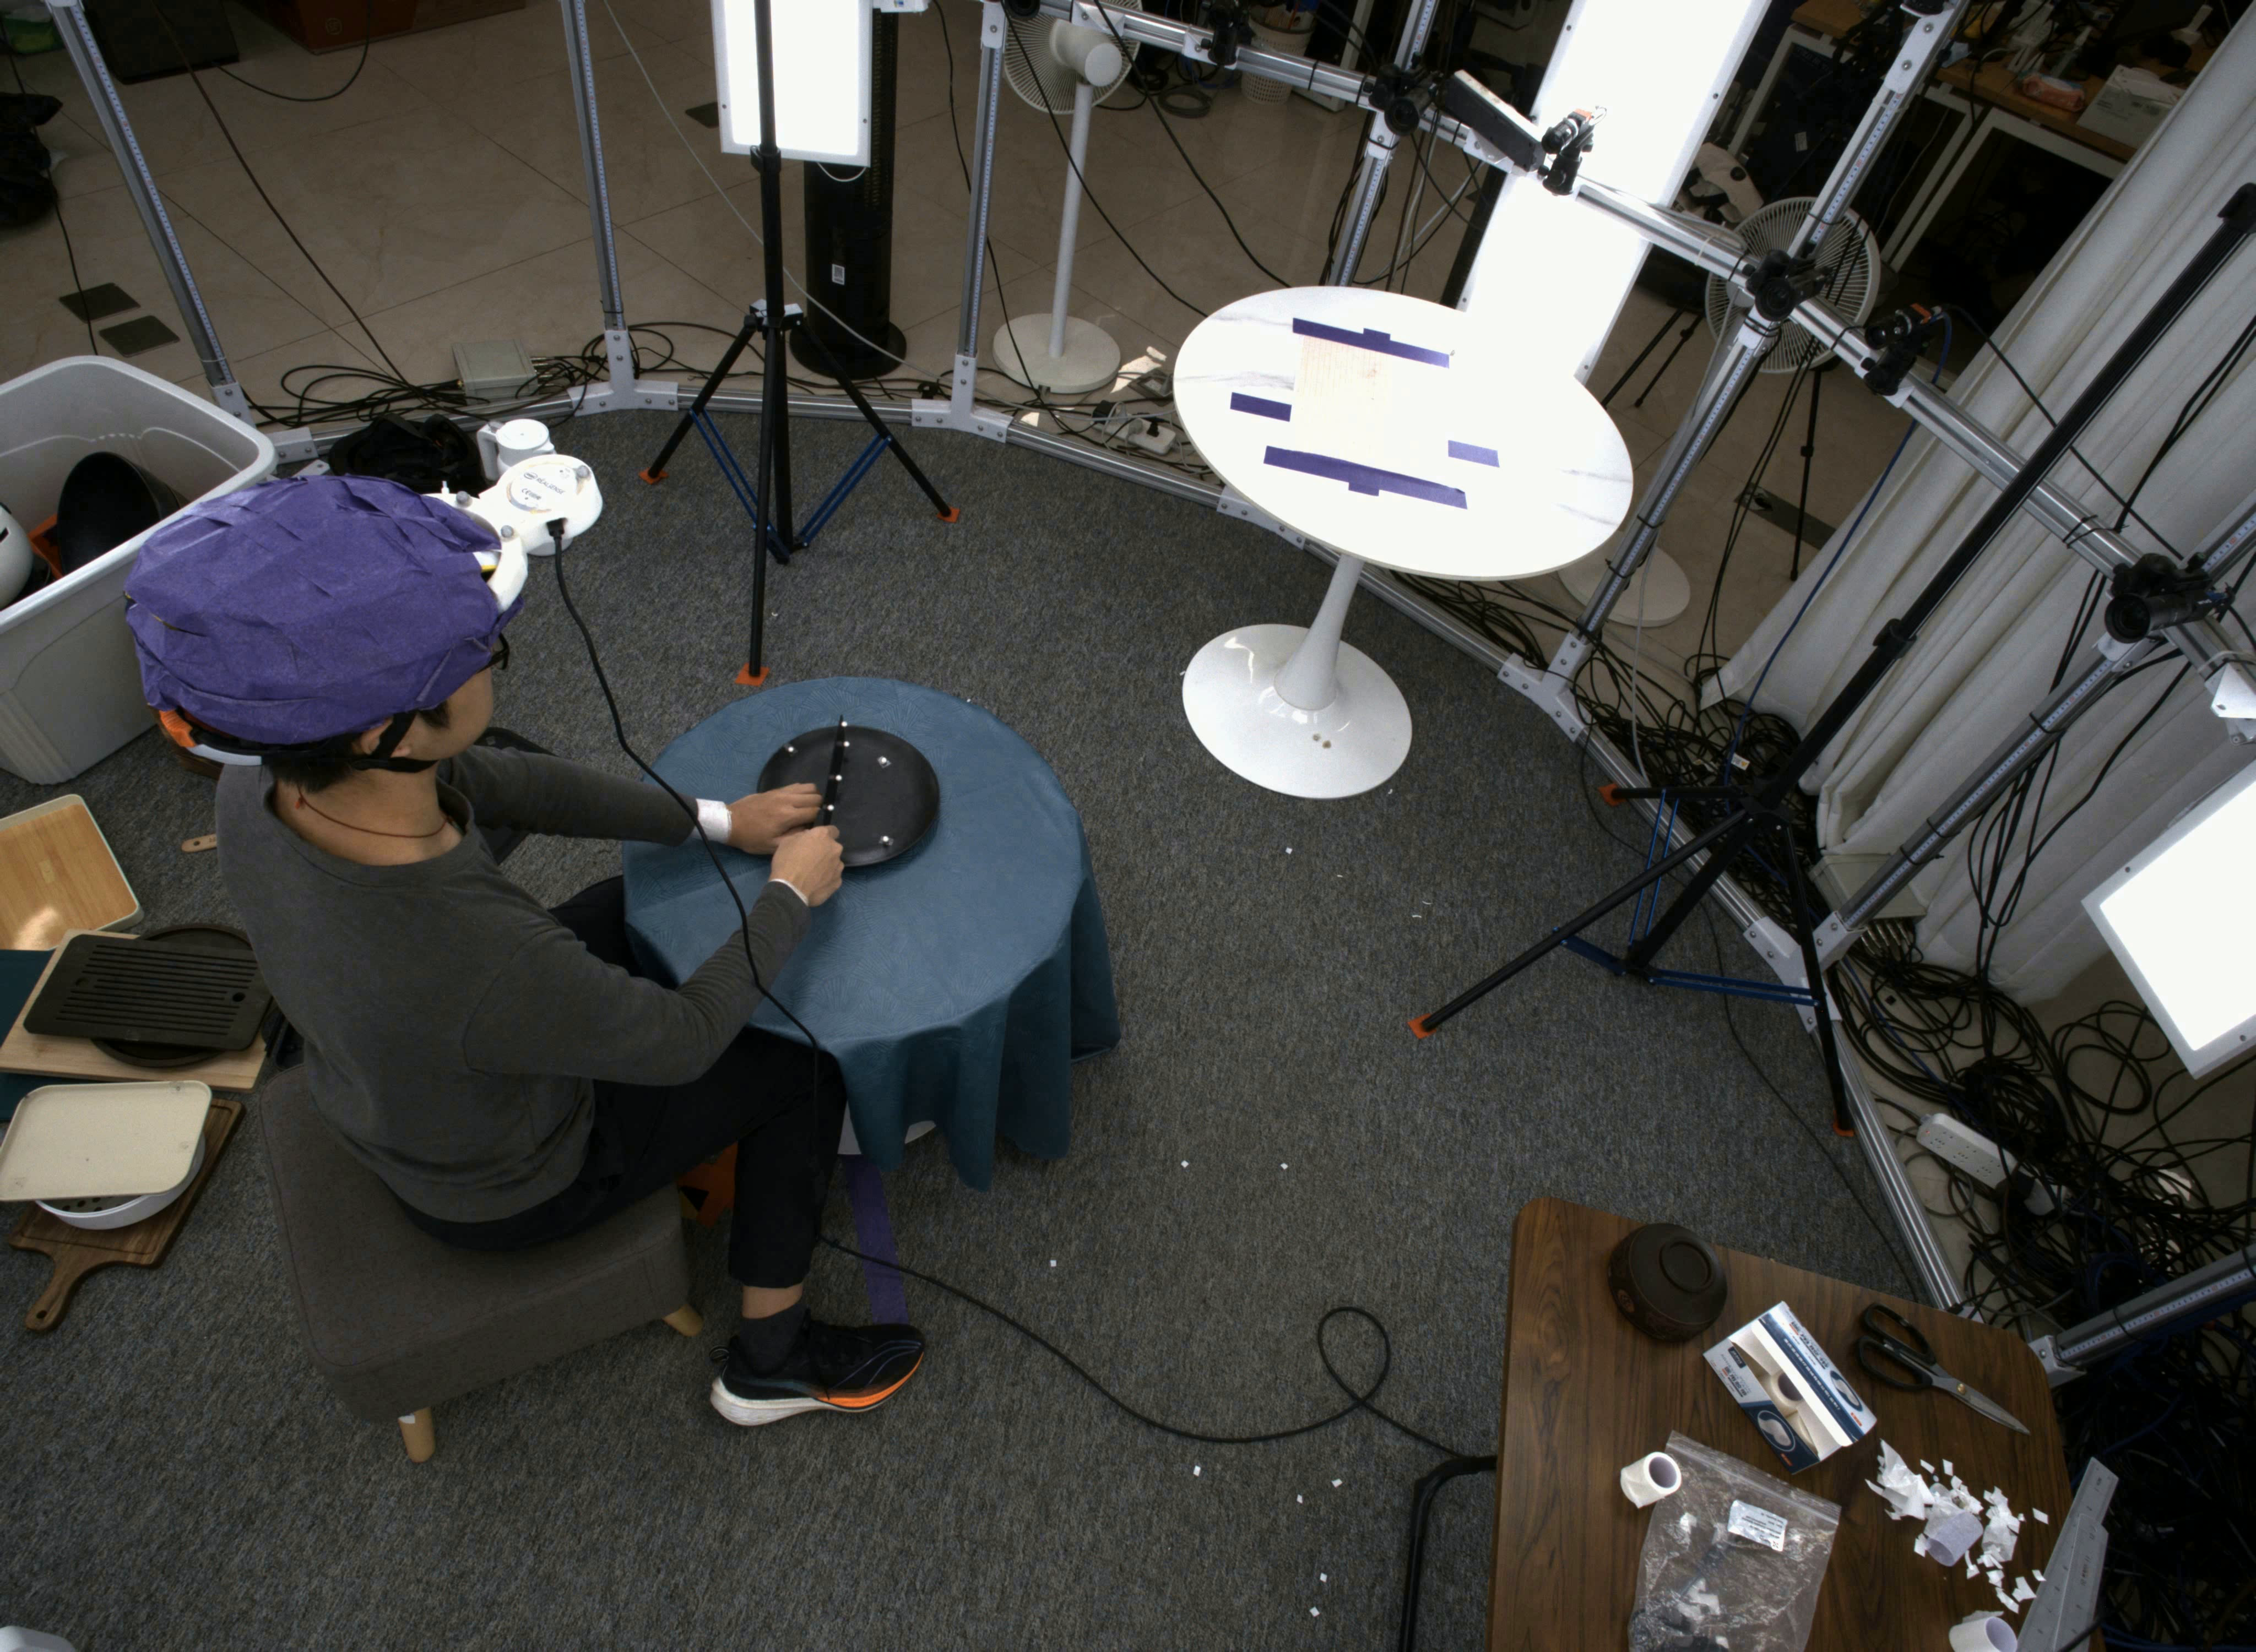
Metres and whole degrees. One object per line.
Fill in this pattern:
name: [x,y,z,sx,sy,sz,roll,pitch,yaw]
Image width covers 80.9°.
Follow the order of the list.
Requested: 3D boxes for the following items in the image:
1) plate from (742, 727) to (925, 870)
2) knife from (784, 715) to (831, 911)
plate: [-0.396,-0.037,1.755,0.244,0.024,0.240,8,52,-9]
knife: [-0.413,-0.017,1.688,0.020,0.083,0.296,3,49,-3]
